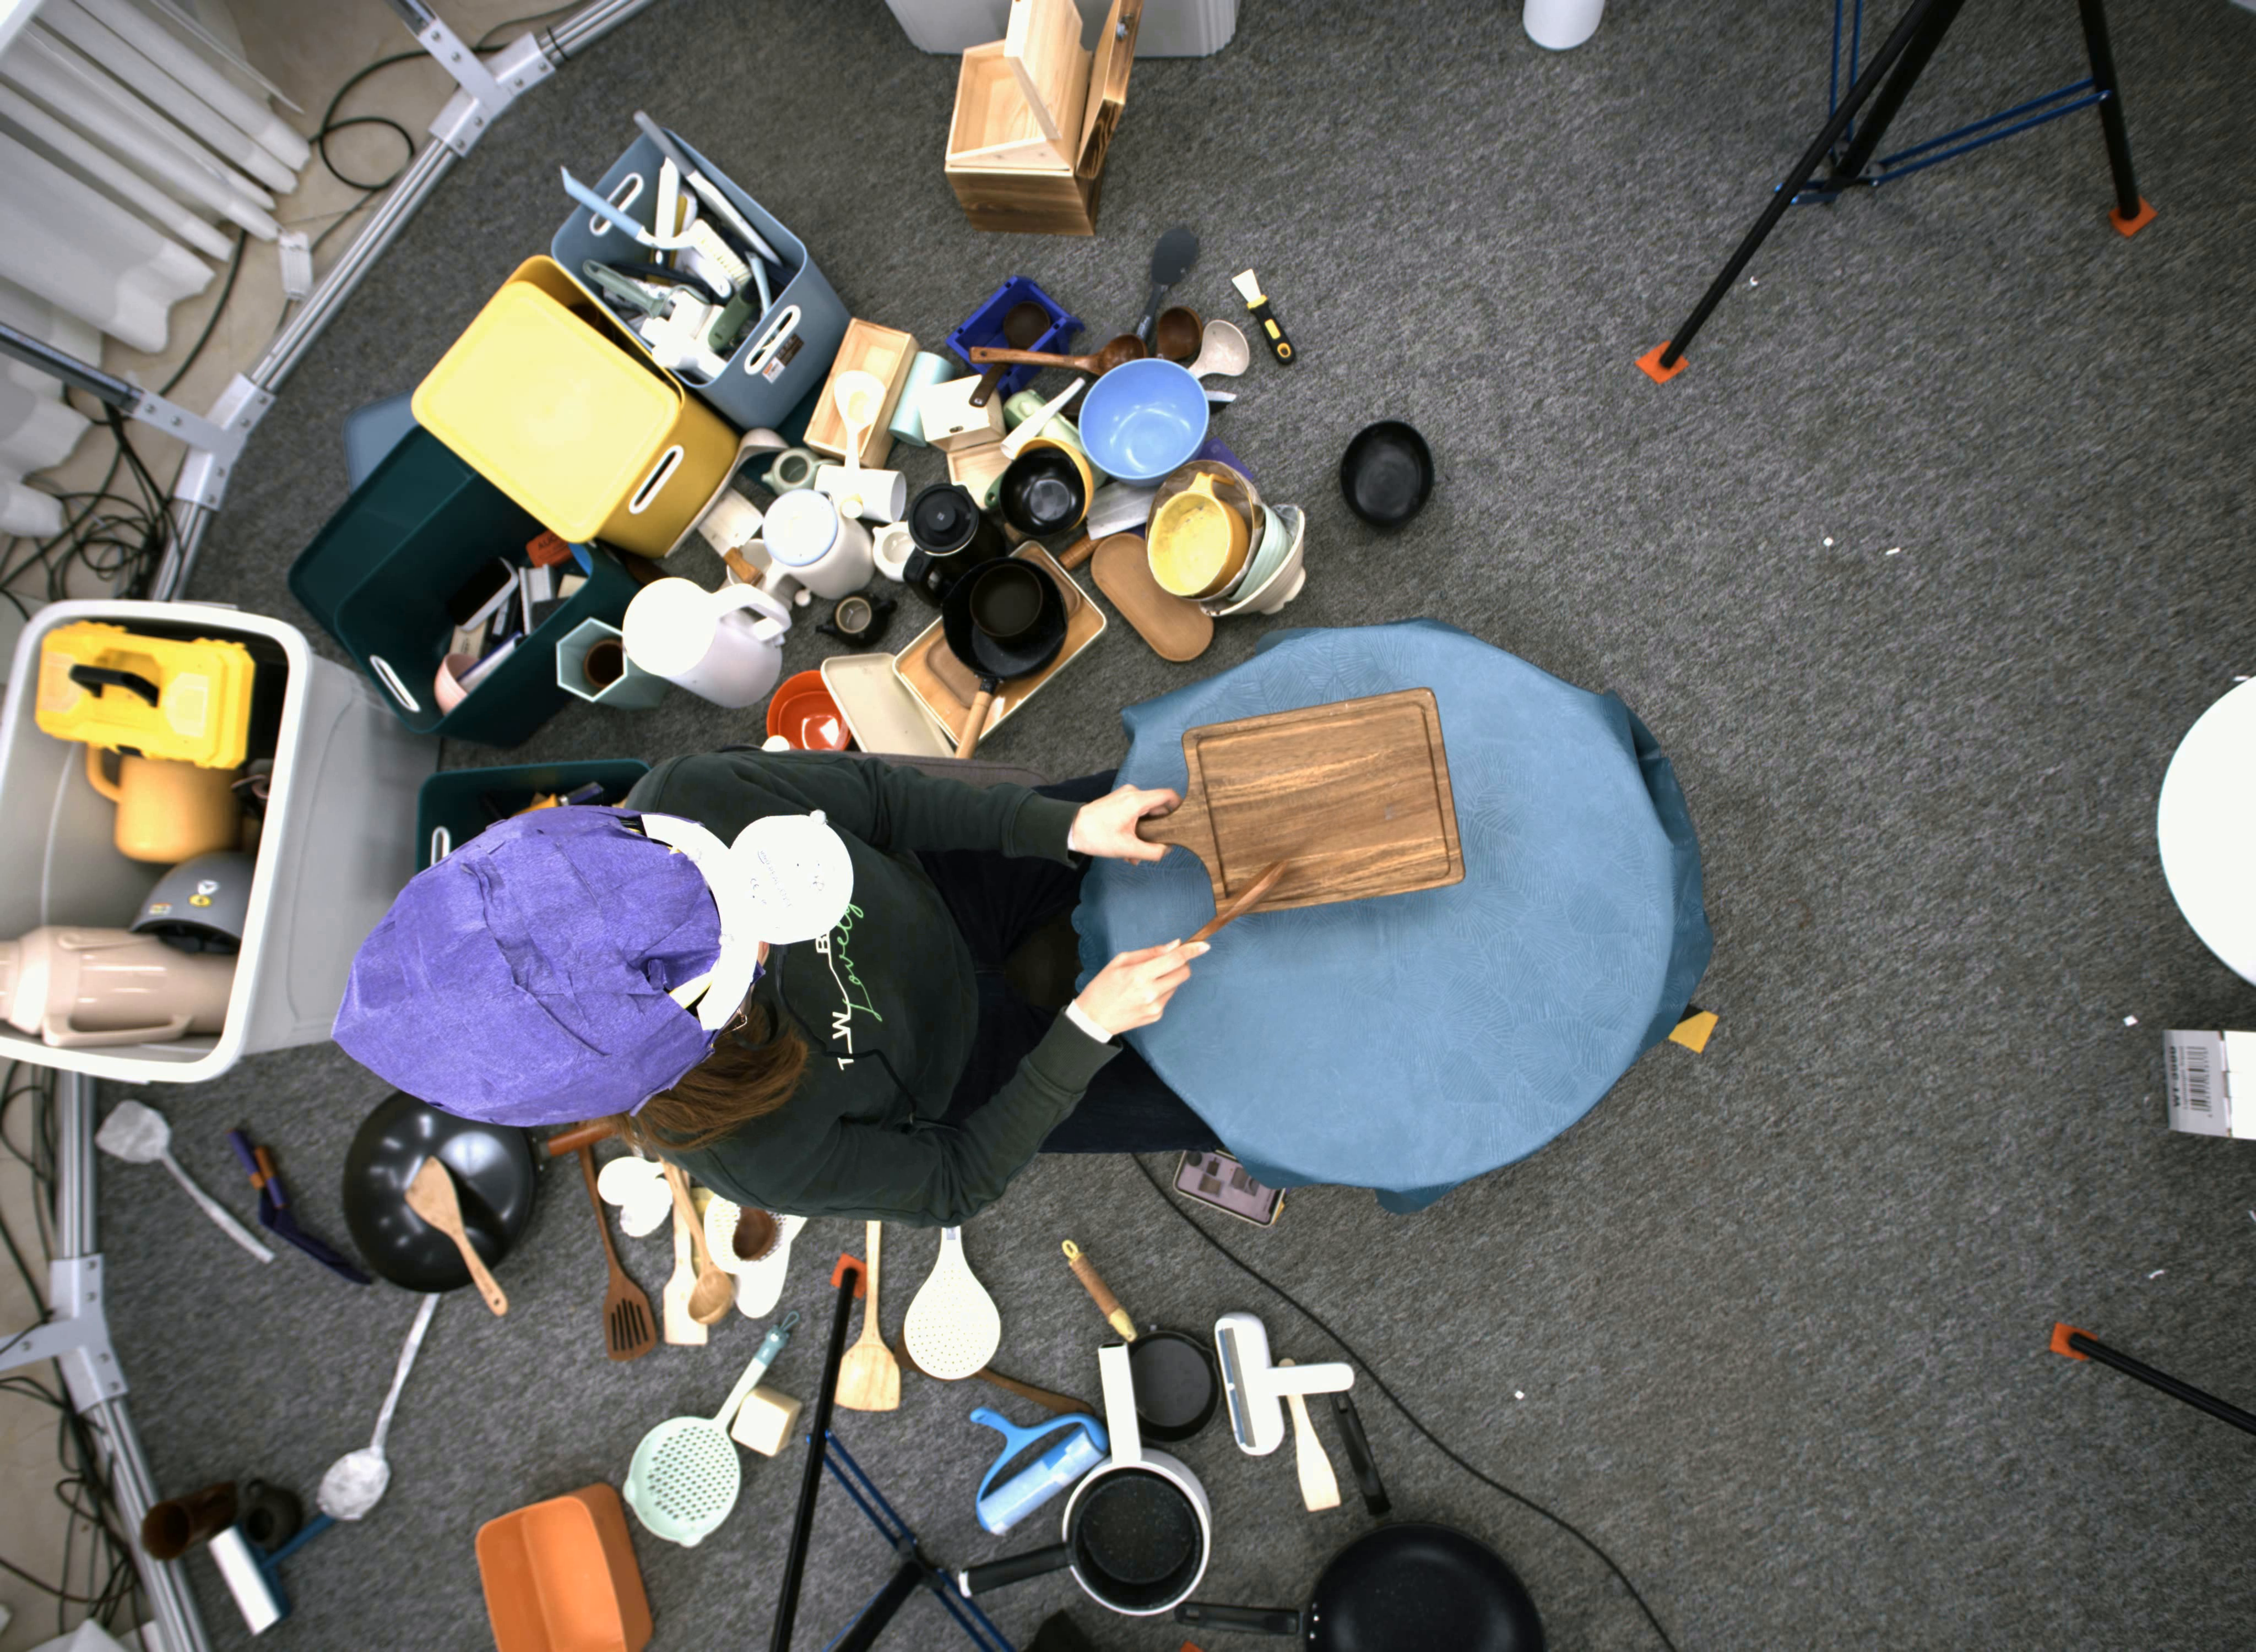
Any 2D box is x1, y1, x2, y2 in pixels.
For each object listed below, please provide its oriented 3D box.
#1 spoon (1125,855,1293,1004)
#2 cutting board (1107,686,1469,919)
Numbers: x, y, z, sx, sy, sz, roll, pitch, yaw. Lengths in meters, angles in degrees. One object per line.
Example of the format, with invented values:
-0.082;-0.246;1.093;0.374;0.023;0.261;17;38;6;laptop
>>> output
0.082;0.103;1.365;0.217;0.075;0.017;-41;95;8;spoon
0.147;-0.013;1.376;0.355;0.023;0.203;-9;104;16;cutting board
